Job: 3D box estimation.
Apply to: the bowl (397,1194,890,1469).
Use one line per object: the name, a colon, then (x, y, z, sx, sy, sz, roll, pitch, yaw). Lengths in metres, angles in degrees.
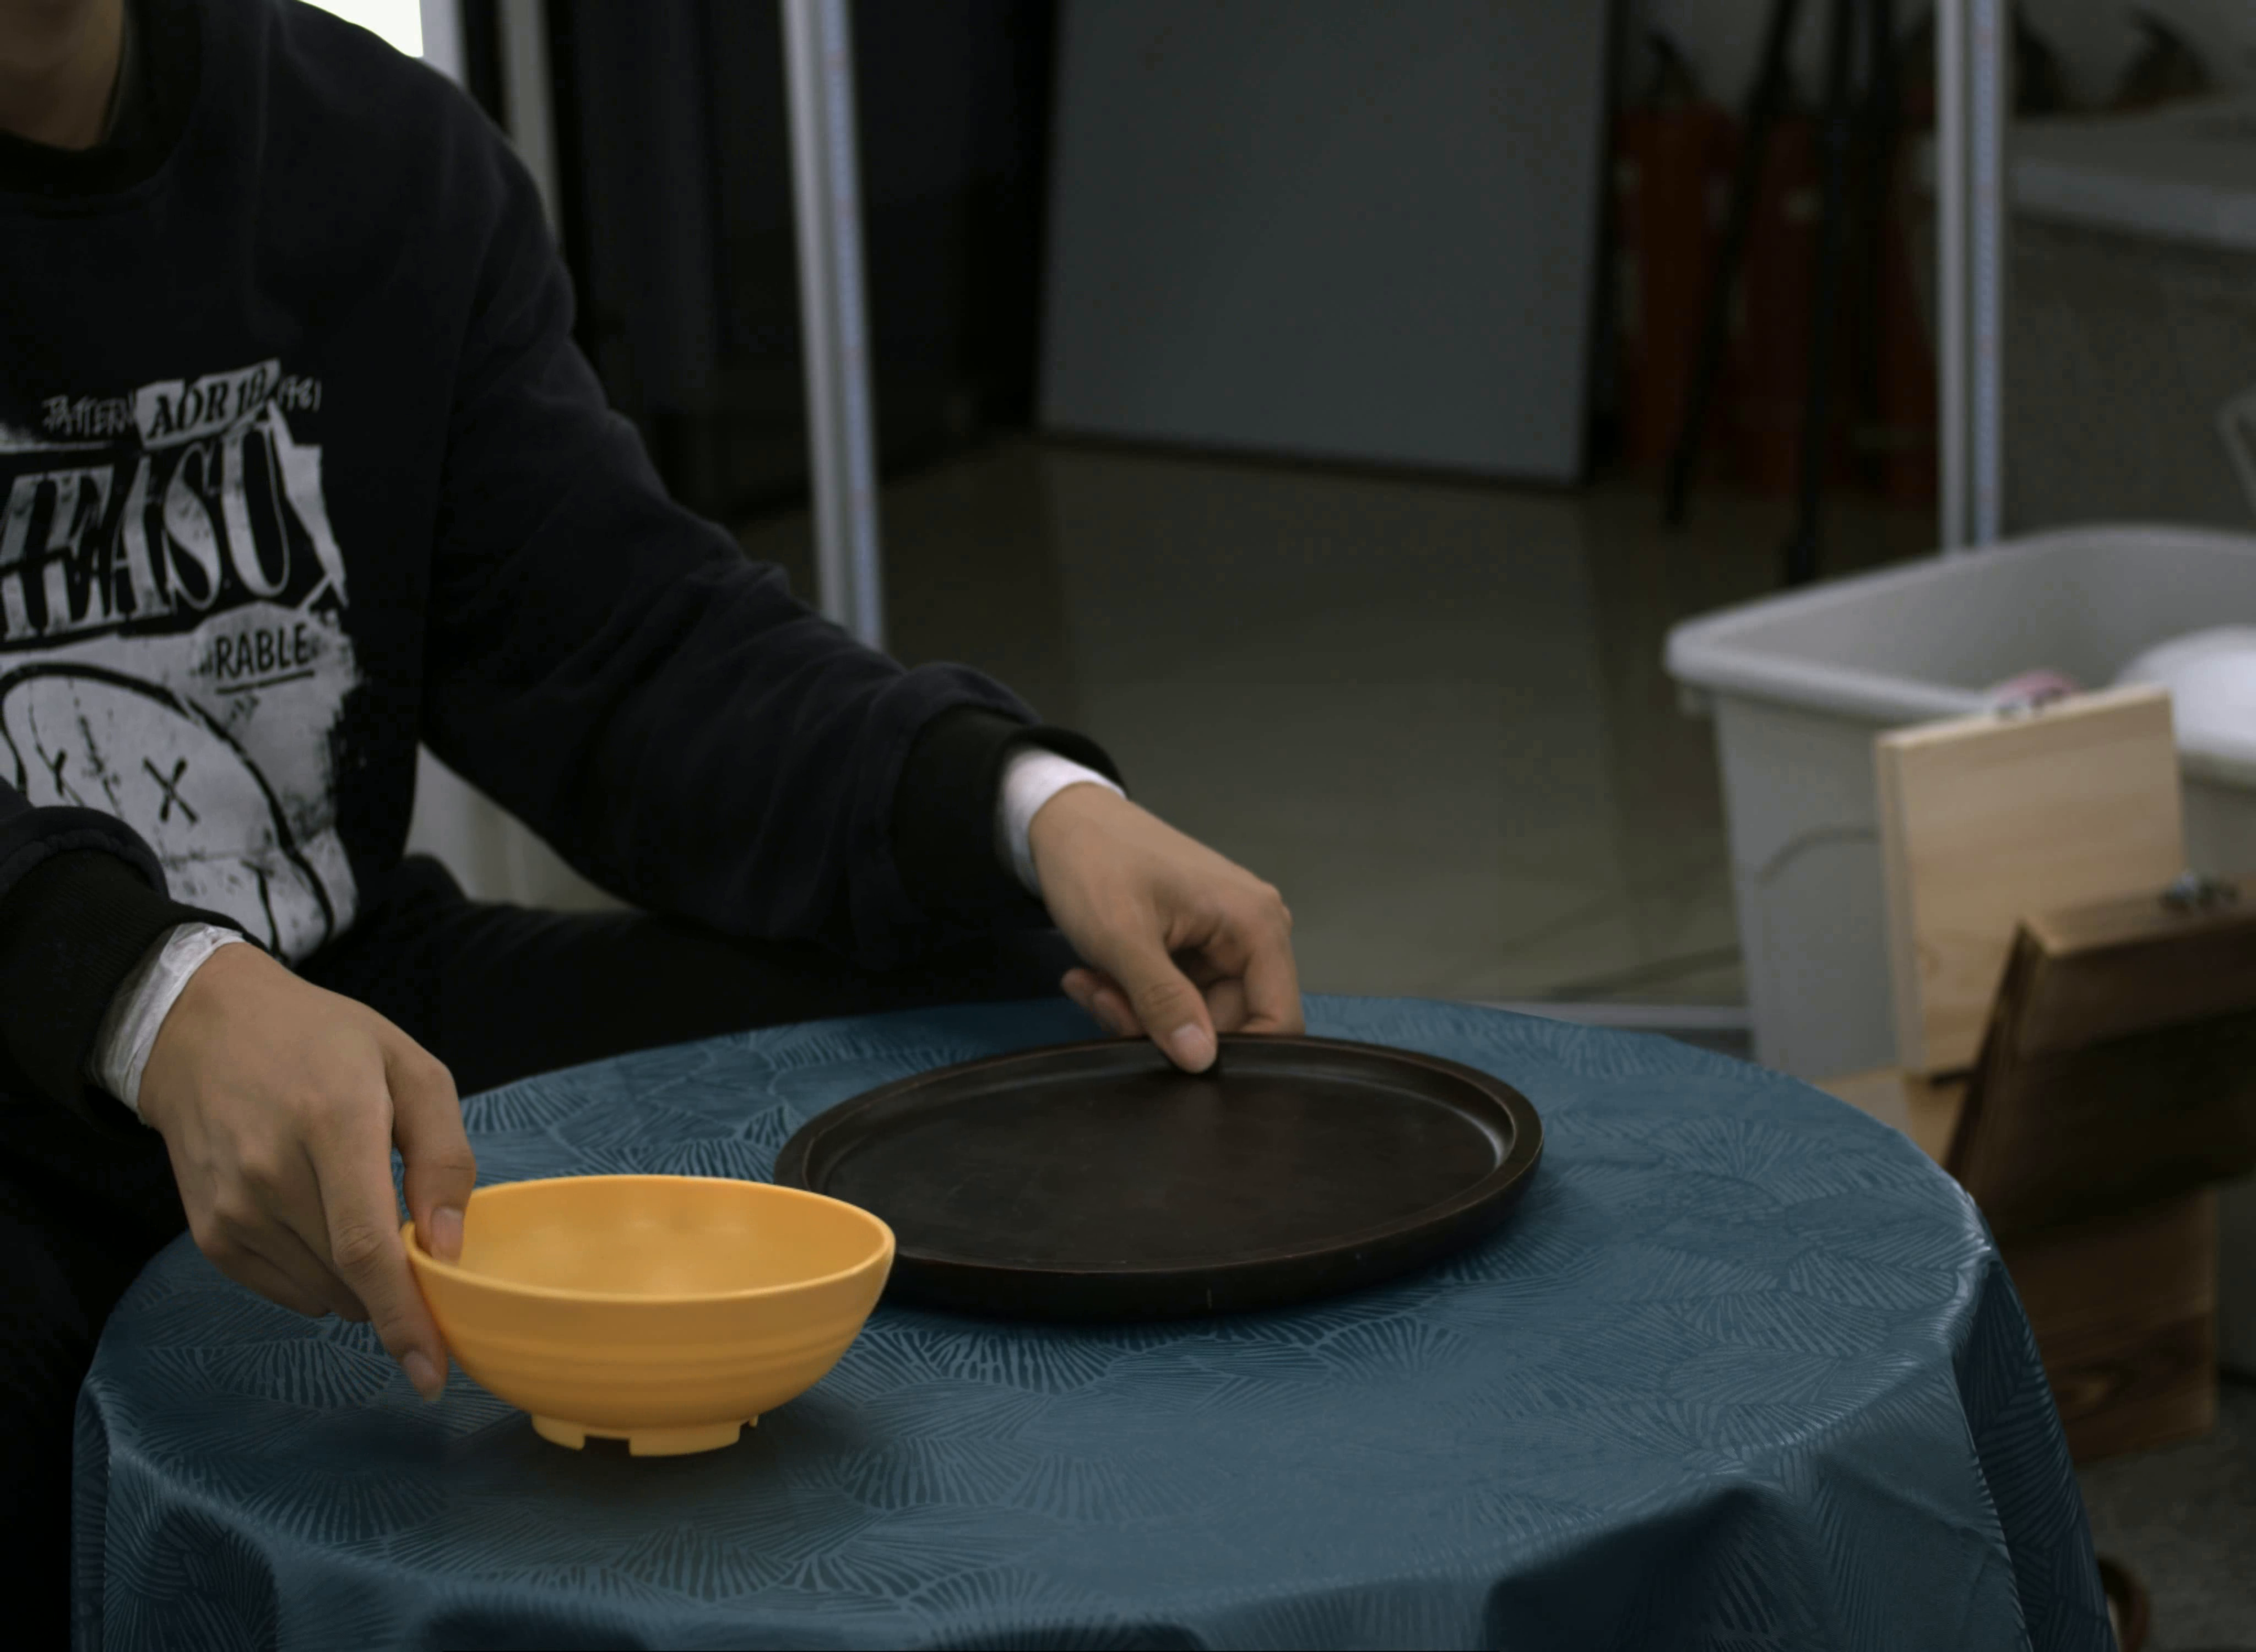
bowl: (-0.140, 0.150, 1.569, 0.143, 0.061, 0.145, 0, 8, -1)

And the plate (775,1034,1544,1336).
plate: (0.011, 0.114, 1.751, 0.251, 0.029, 0.255, -6, 14, 1)
